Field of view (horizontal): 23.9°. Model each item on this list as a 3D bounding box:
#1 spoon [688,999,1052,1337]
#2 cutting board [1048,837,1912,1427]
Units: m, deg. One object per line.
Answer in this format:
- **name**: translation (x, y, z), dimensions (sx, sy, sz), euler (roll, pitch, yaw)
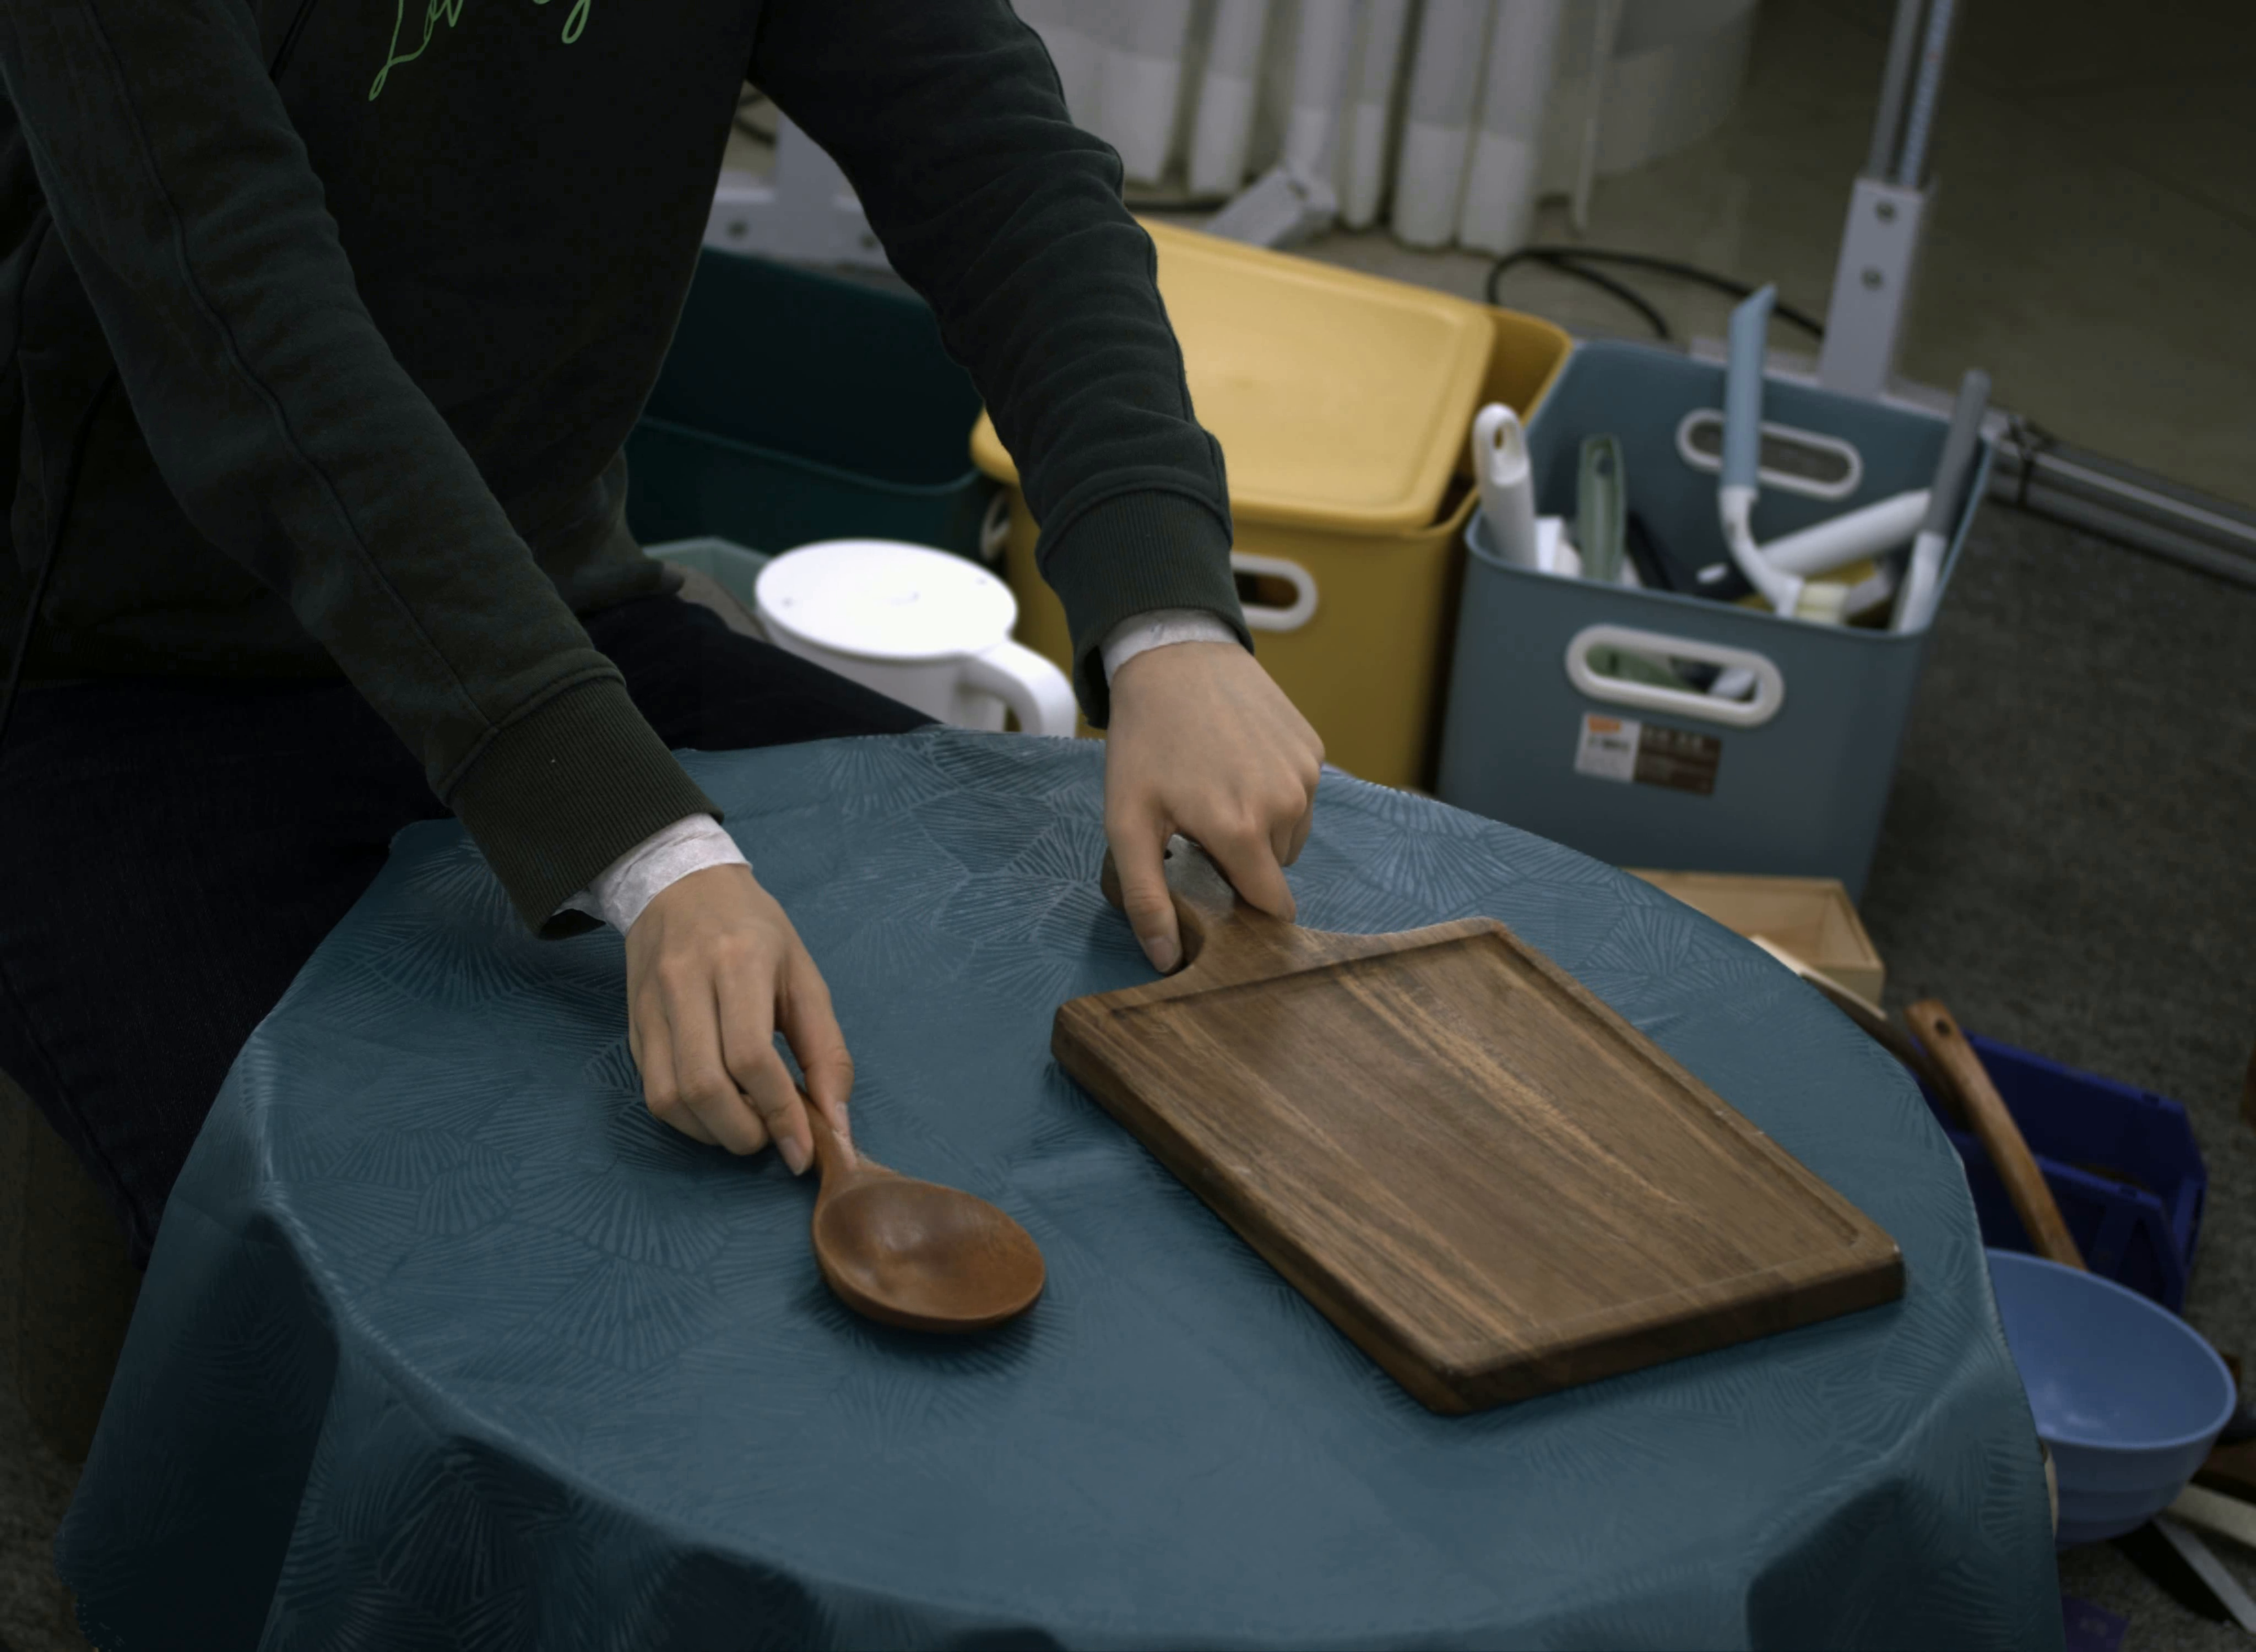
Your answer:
- **spoon**: translation (-0.095, 0.114, 1.777), dimensions (0.075, 0.017, 0.218), euler (-10, 32, -27)
- **cutting board**: translation (0.092, 0.090, 1.863), dimensions (0.200, 0.023, 0.355), euler (-12, 32, -30)
